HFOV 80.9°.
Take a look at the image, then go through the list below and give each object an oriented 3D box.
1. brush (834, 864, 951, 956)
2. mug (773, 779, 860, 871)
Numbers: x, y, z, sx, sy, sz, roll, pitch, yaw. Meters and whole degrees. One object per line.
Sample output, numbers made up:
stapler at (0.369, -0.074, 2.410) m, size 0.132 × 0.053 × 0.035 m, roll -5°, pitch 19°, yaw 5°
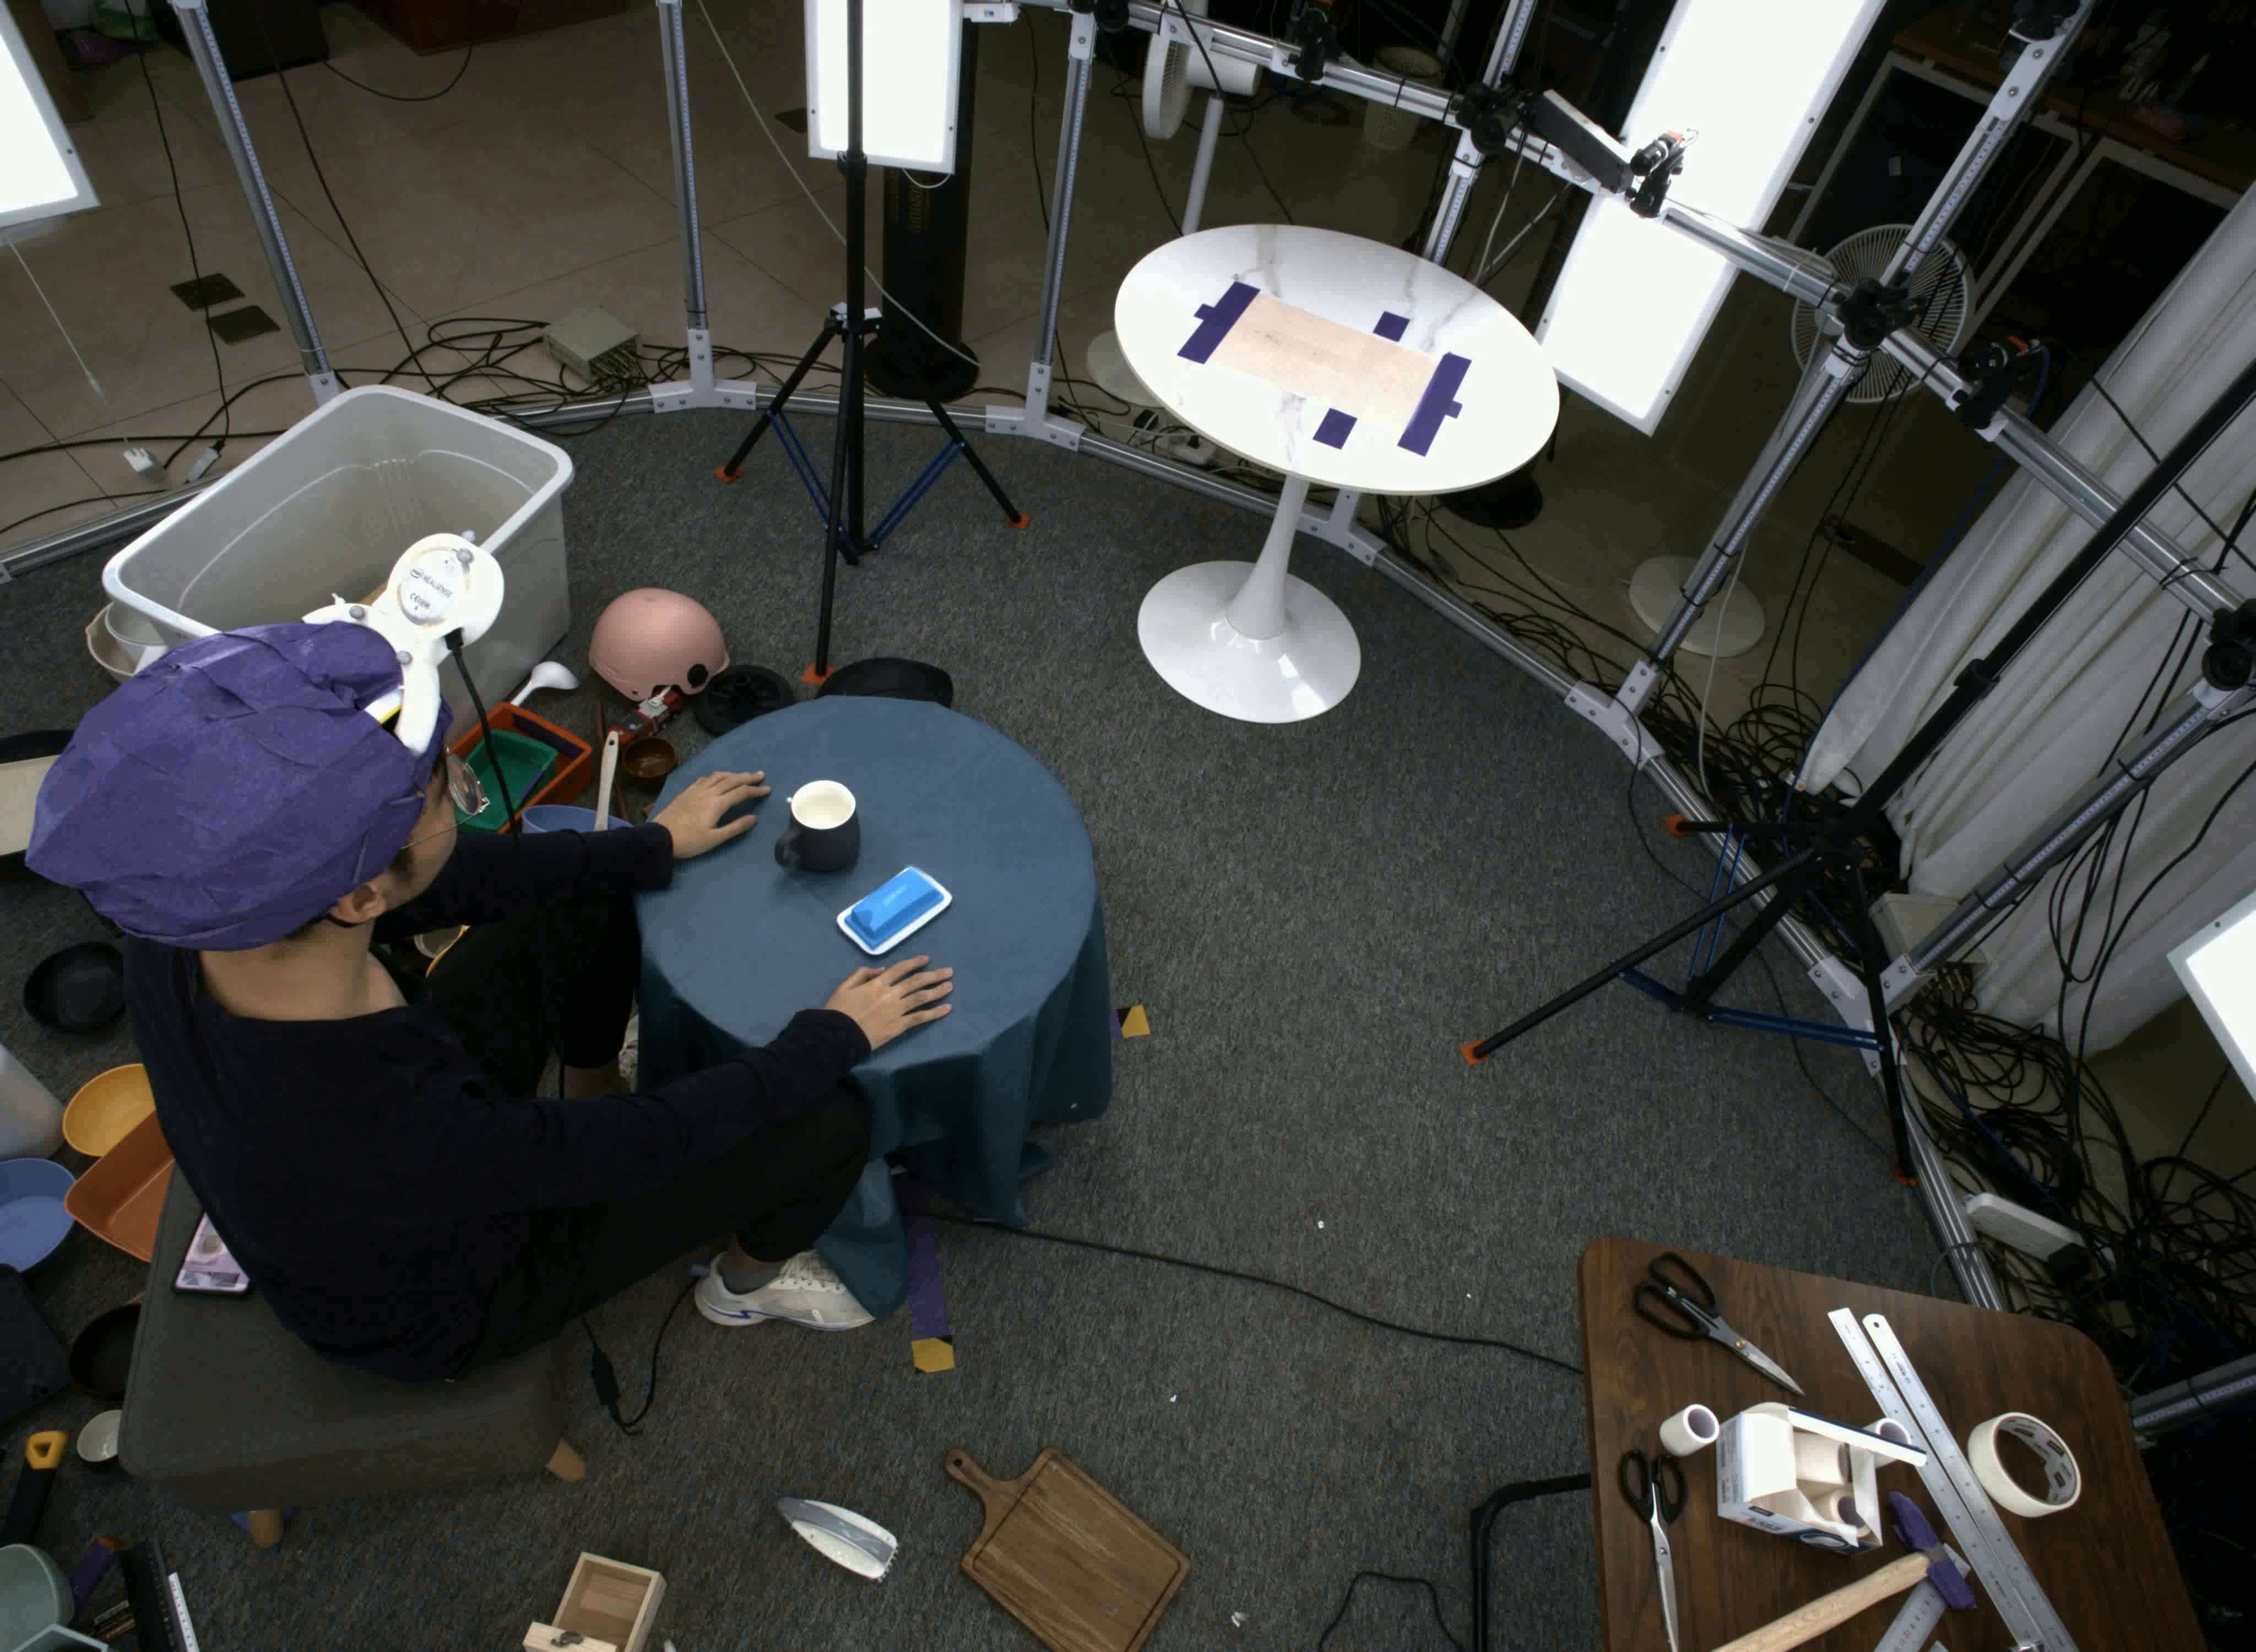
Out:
brush at (-0.298, 0.098, 1.645) m, size 0.082 × 0.057 × 0.144 m, roll 40°, pitch 53°, yaw 21°
mug at (-0.403, 0.005, 1.665) m, size 0.091 × 0.092 × 0.123 m, roll 39°, pitch 53°, yaw 20°
